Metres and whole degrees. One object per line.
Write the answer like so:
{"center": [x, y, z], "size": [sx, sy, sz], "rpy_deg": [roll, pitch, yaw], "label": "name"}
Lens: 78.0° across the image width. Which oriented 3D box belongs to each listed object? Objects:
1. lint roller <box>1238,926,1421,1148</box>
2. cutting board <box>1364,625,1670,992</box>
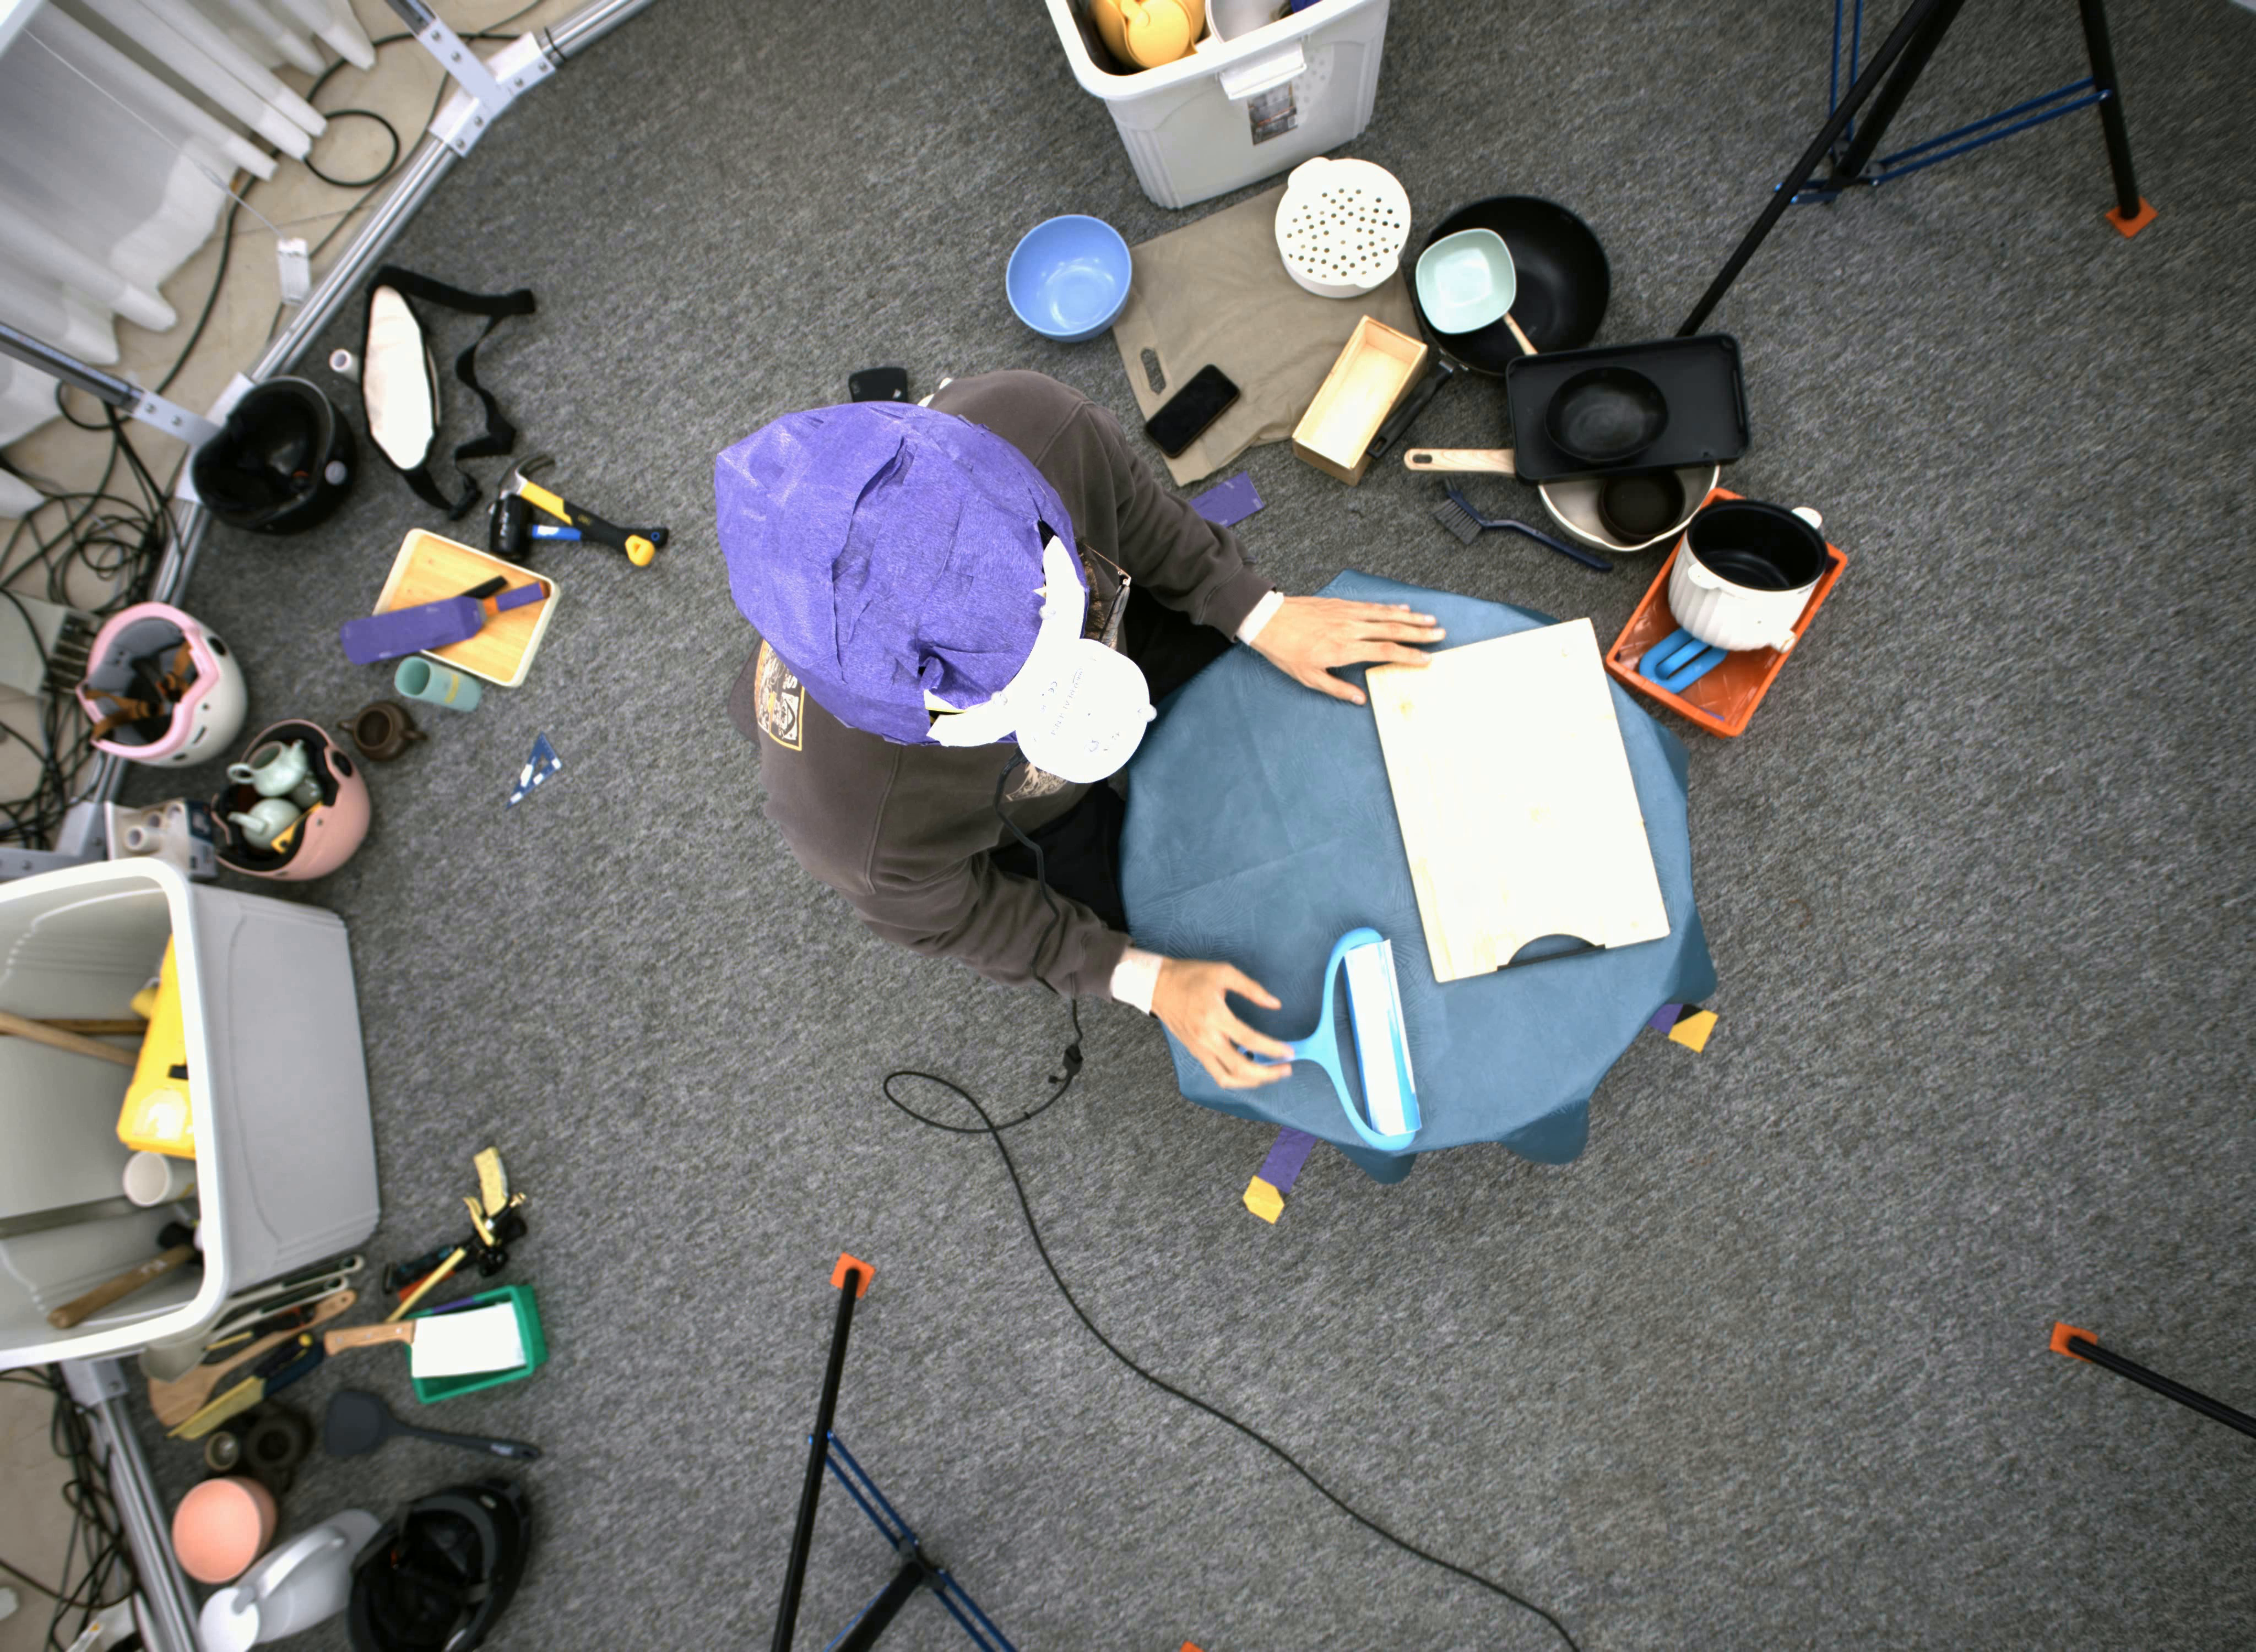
{"center": [0.202, 0.227, 1.434], "size": [0.181, 0.068, 0.228], "rpy_deg": [-11, 86, 8], "label": "lint roller"}
{"center": [0.402, -0.024, 1.430], "size": [0.252, 0.023, 0.347], "rpy_deg": [-14, 85, 10], "label": "cutting board"}
